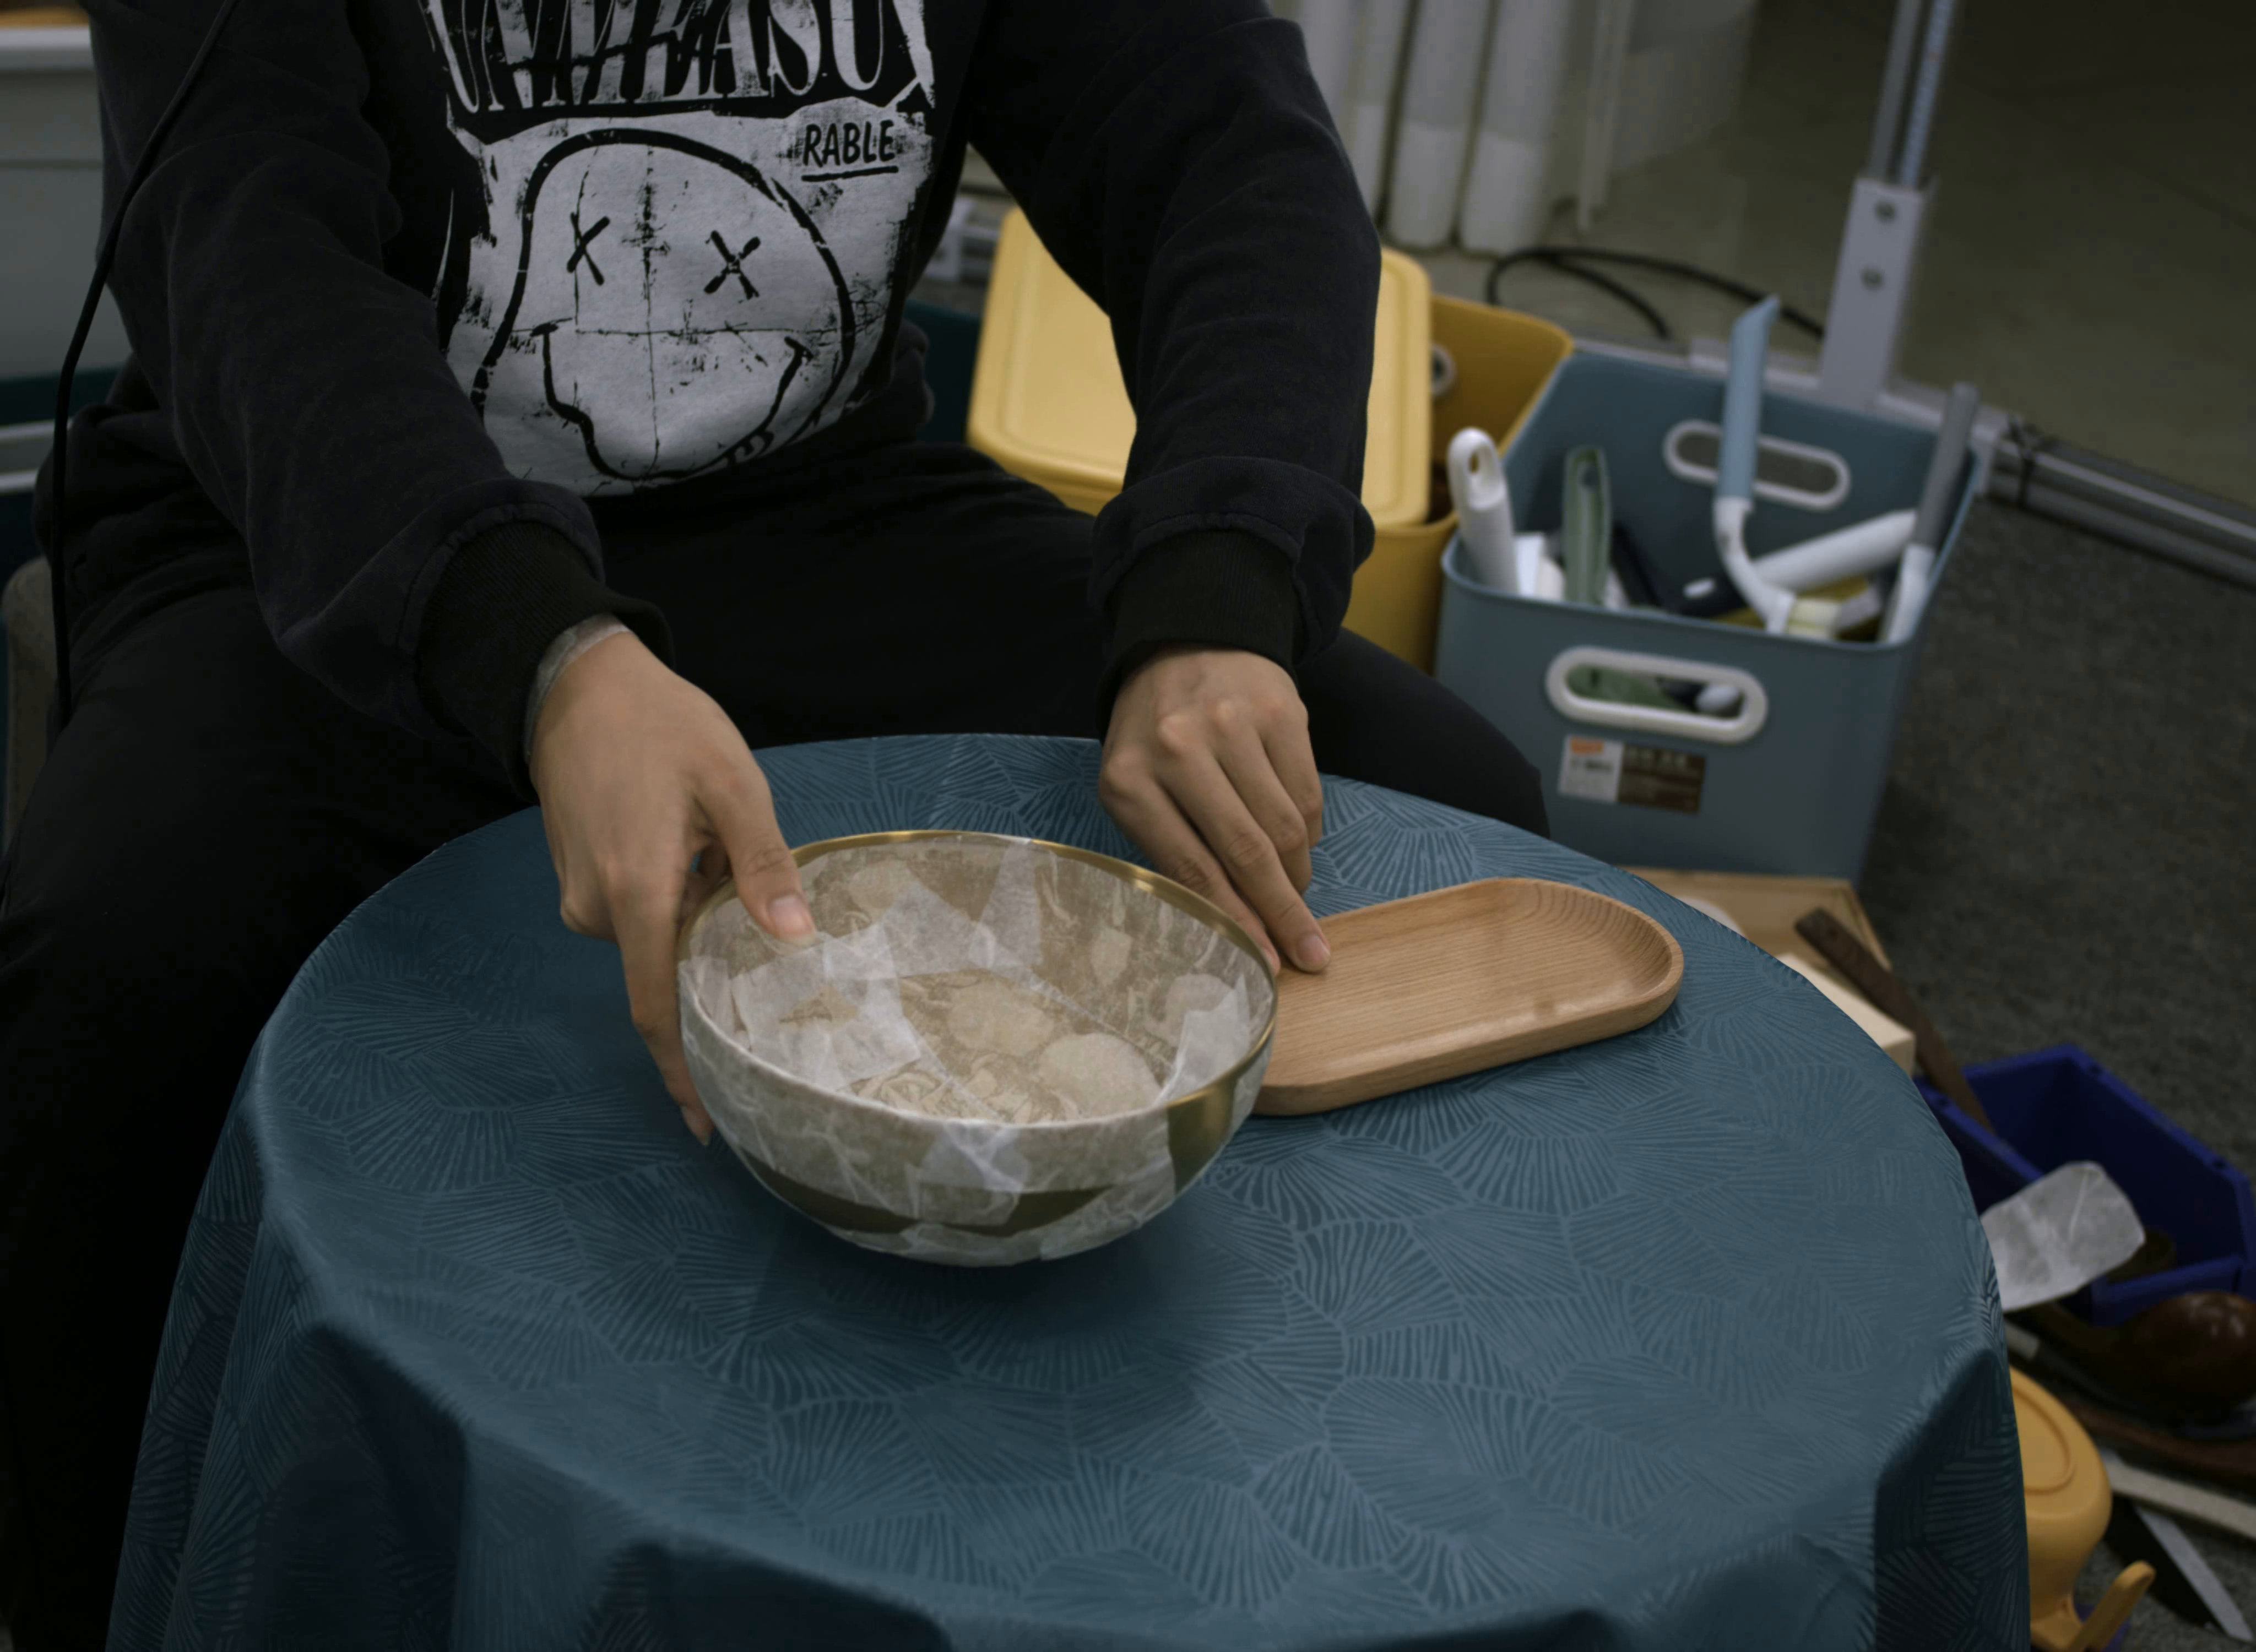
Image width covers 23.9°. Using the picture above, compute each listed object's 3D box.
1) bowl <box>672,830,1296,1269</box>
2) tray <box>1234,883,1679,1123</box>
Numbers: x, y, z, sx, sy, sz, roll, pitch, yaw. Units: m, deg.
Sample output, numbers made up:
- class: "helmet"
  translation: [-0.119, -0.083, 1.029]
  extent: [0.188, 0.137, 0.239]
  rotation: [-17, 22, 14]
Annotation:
- class: "bowl"
  translation: [-0.050, 0.085, 1.764]
  extent: [0.214, 0.094, 0.216]
  rotation: [4, 26, -2]
- class: "tray"
  translation: [0.099, 0.064, 1.924]
  extent: [0.230, 0.020, 0.102]
  rotation: [-15, 31, -32]
